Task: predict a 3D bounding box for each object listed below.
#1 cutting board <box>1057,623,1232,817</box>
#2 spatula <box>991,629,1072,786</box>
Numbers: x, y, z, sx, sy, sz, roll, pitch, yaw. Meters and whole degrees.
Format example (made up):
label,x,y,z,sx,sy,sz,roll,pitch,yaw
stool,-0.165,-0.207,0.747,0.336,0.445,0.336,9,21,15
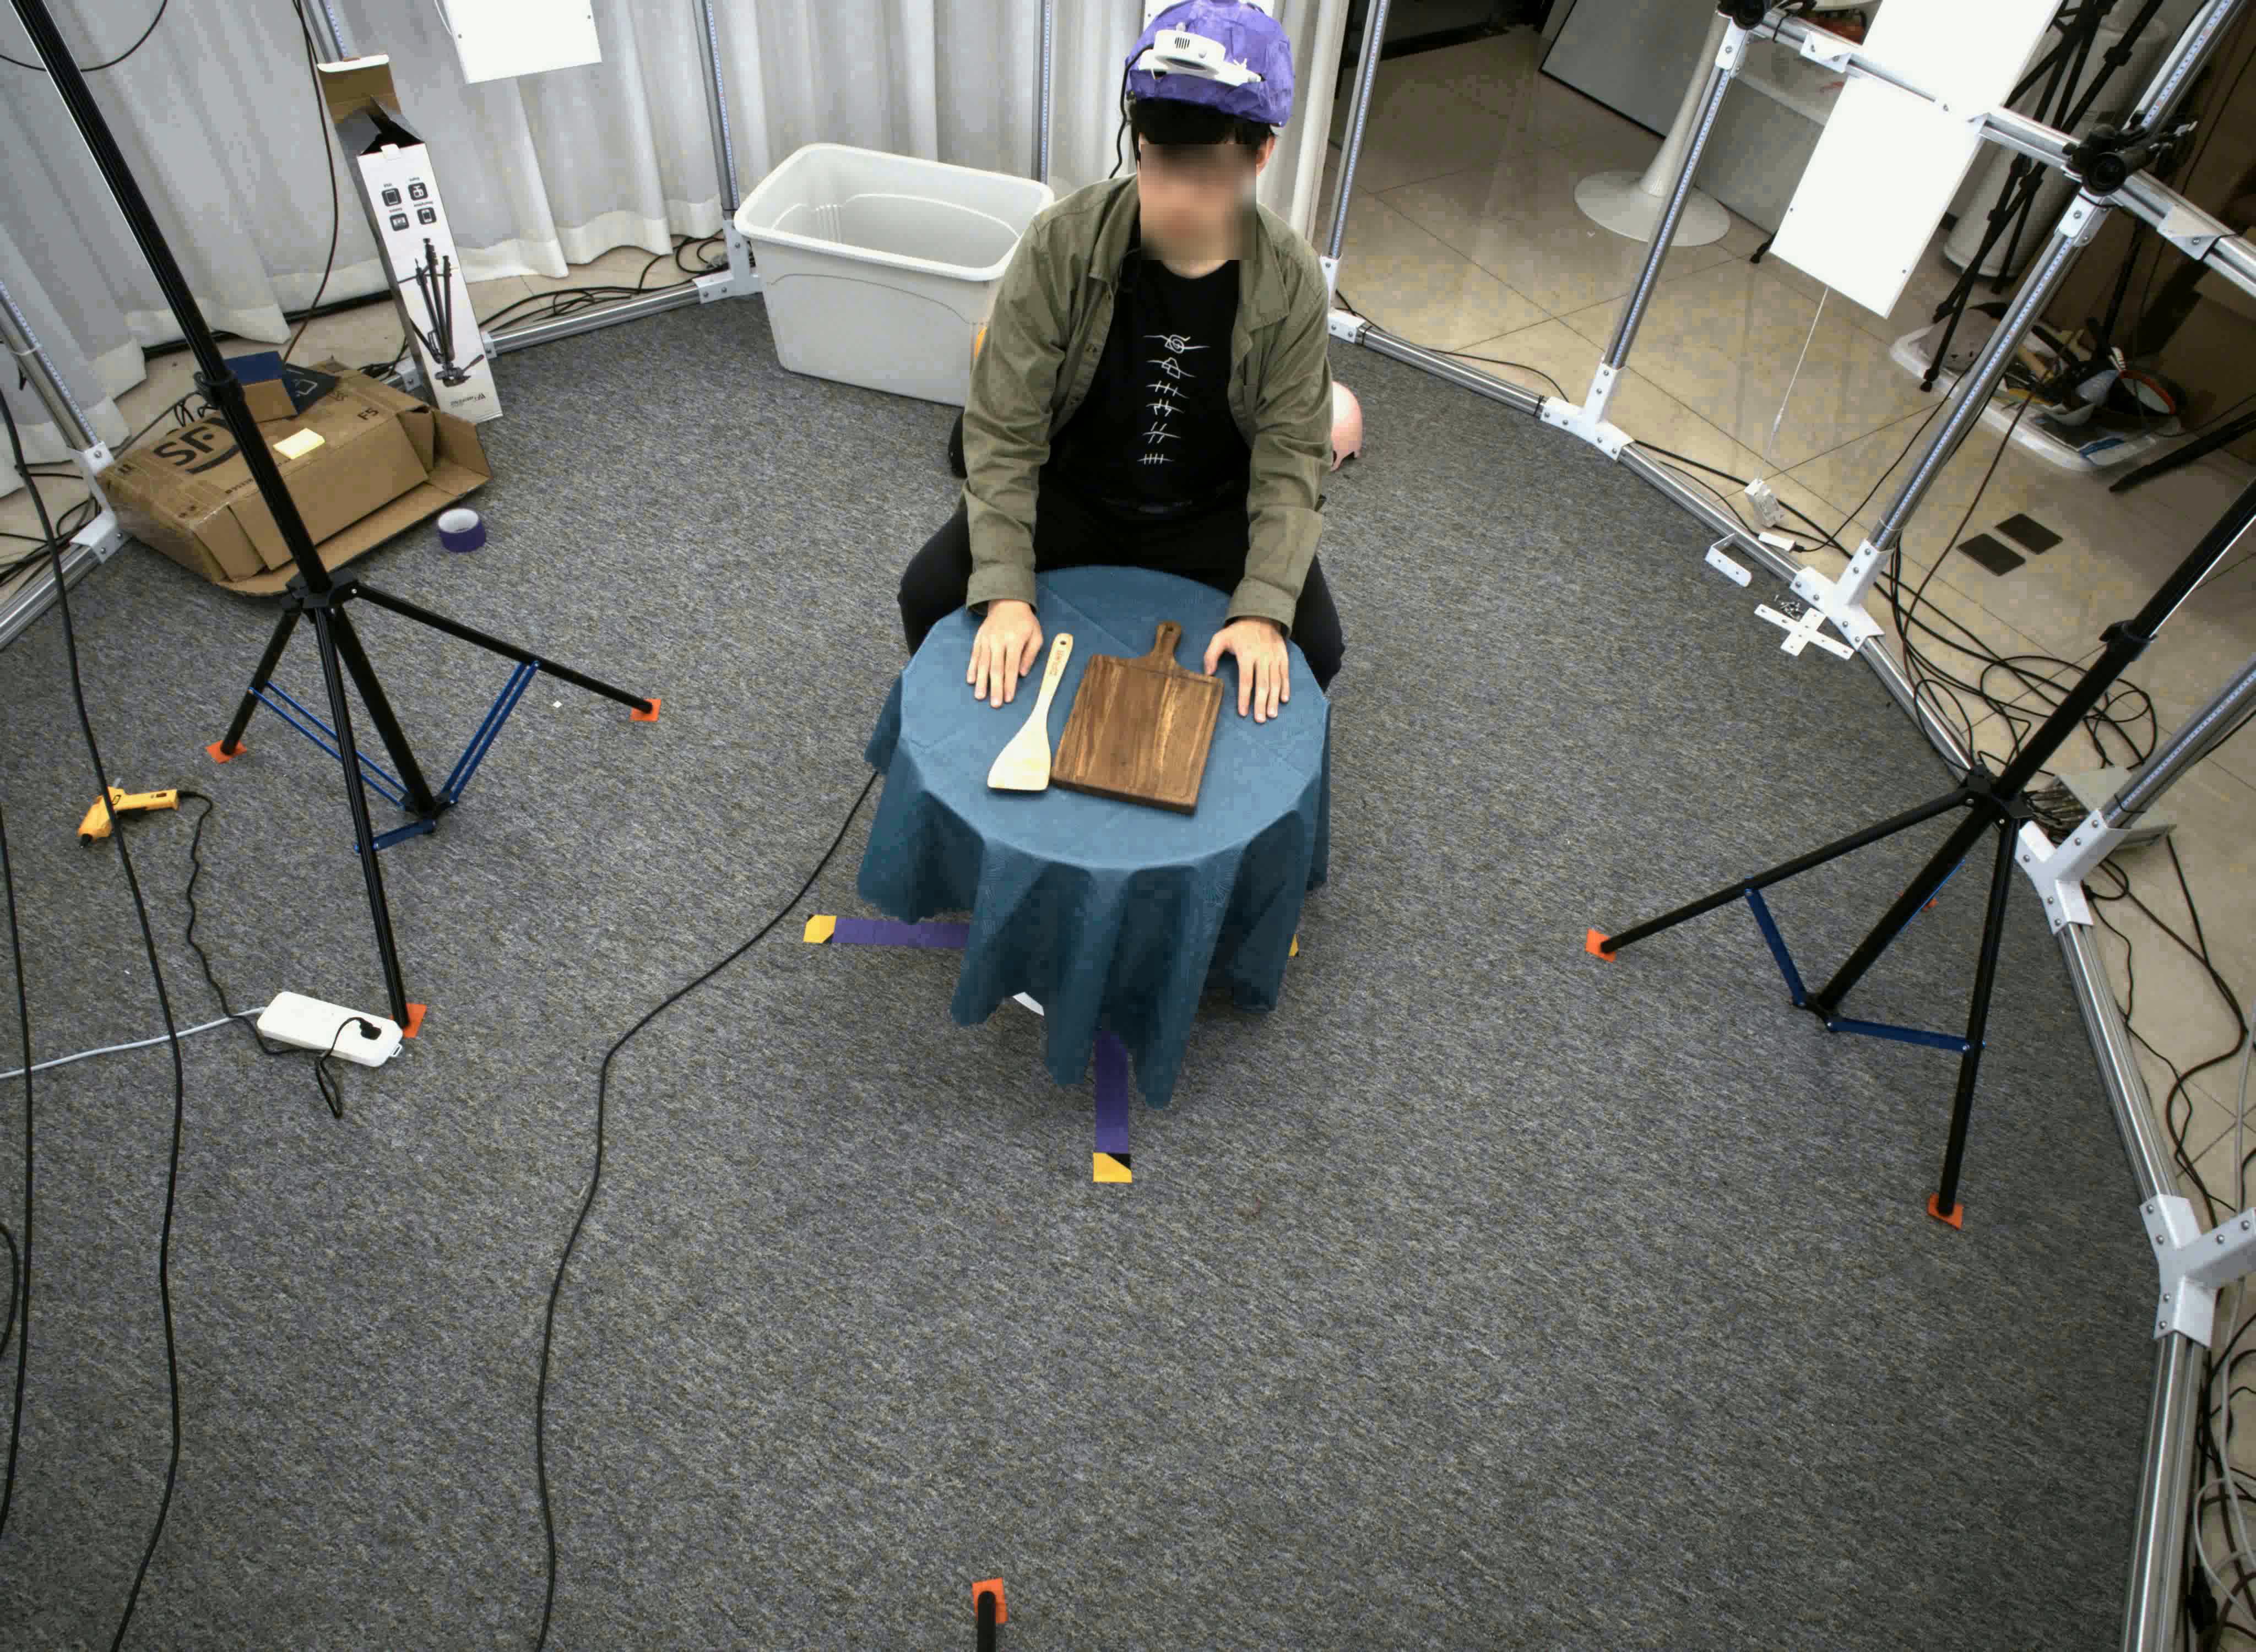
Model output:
label,x,y,z,sx,sy,sz,roll,pitch,yaw
cutting board,0.038,-0.164,1.792,0.201,0.022,0.360,12,49,6
spatula,-0.118,-0.169,1.785,0.080,0.016,0.335,10,49,3
